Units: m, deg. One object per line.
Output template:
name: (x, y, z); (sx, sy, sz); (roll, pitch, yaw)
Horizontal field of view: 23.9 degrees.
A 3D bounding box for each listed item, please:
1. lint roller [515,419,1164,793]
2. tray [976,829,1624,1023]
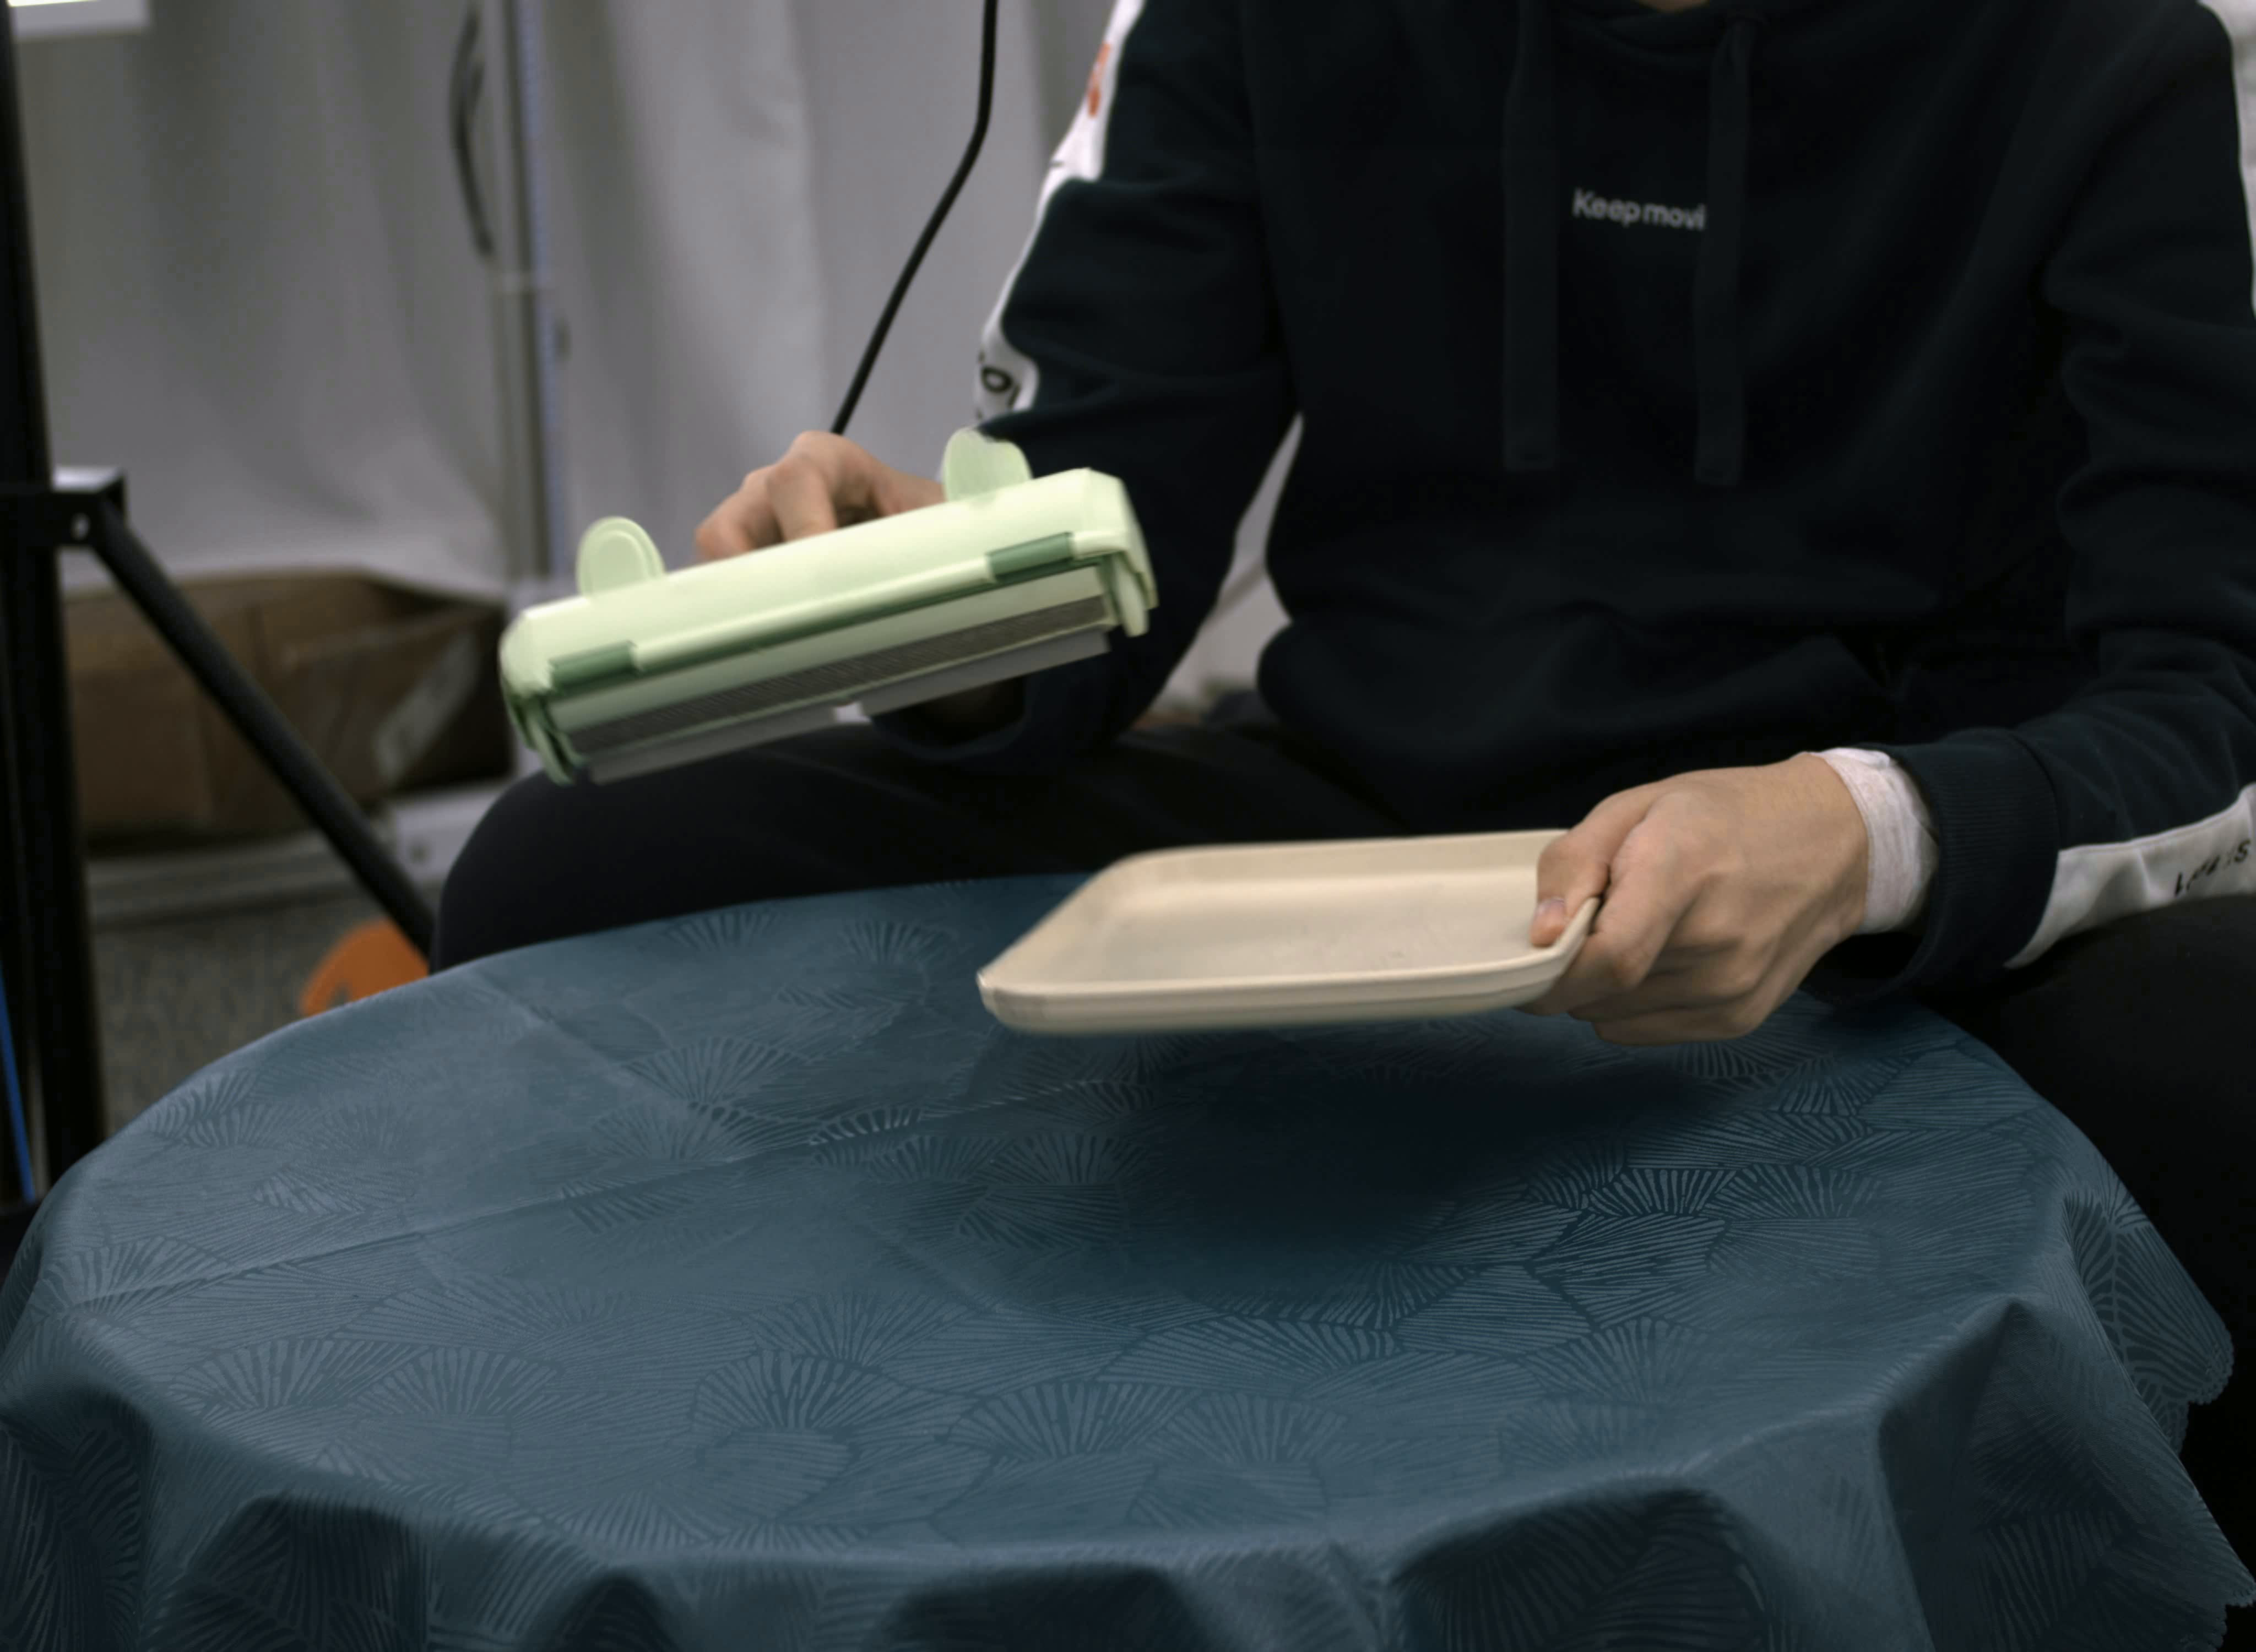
lint roller: (-0.089, -0.079, 1.674); (0.198, 0.082, 0.184); (-16, 13, 5)
tray: (0.056, 0.030, 1.588); (0.172, 0.017, 0.238); (-1, 9, 12)
